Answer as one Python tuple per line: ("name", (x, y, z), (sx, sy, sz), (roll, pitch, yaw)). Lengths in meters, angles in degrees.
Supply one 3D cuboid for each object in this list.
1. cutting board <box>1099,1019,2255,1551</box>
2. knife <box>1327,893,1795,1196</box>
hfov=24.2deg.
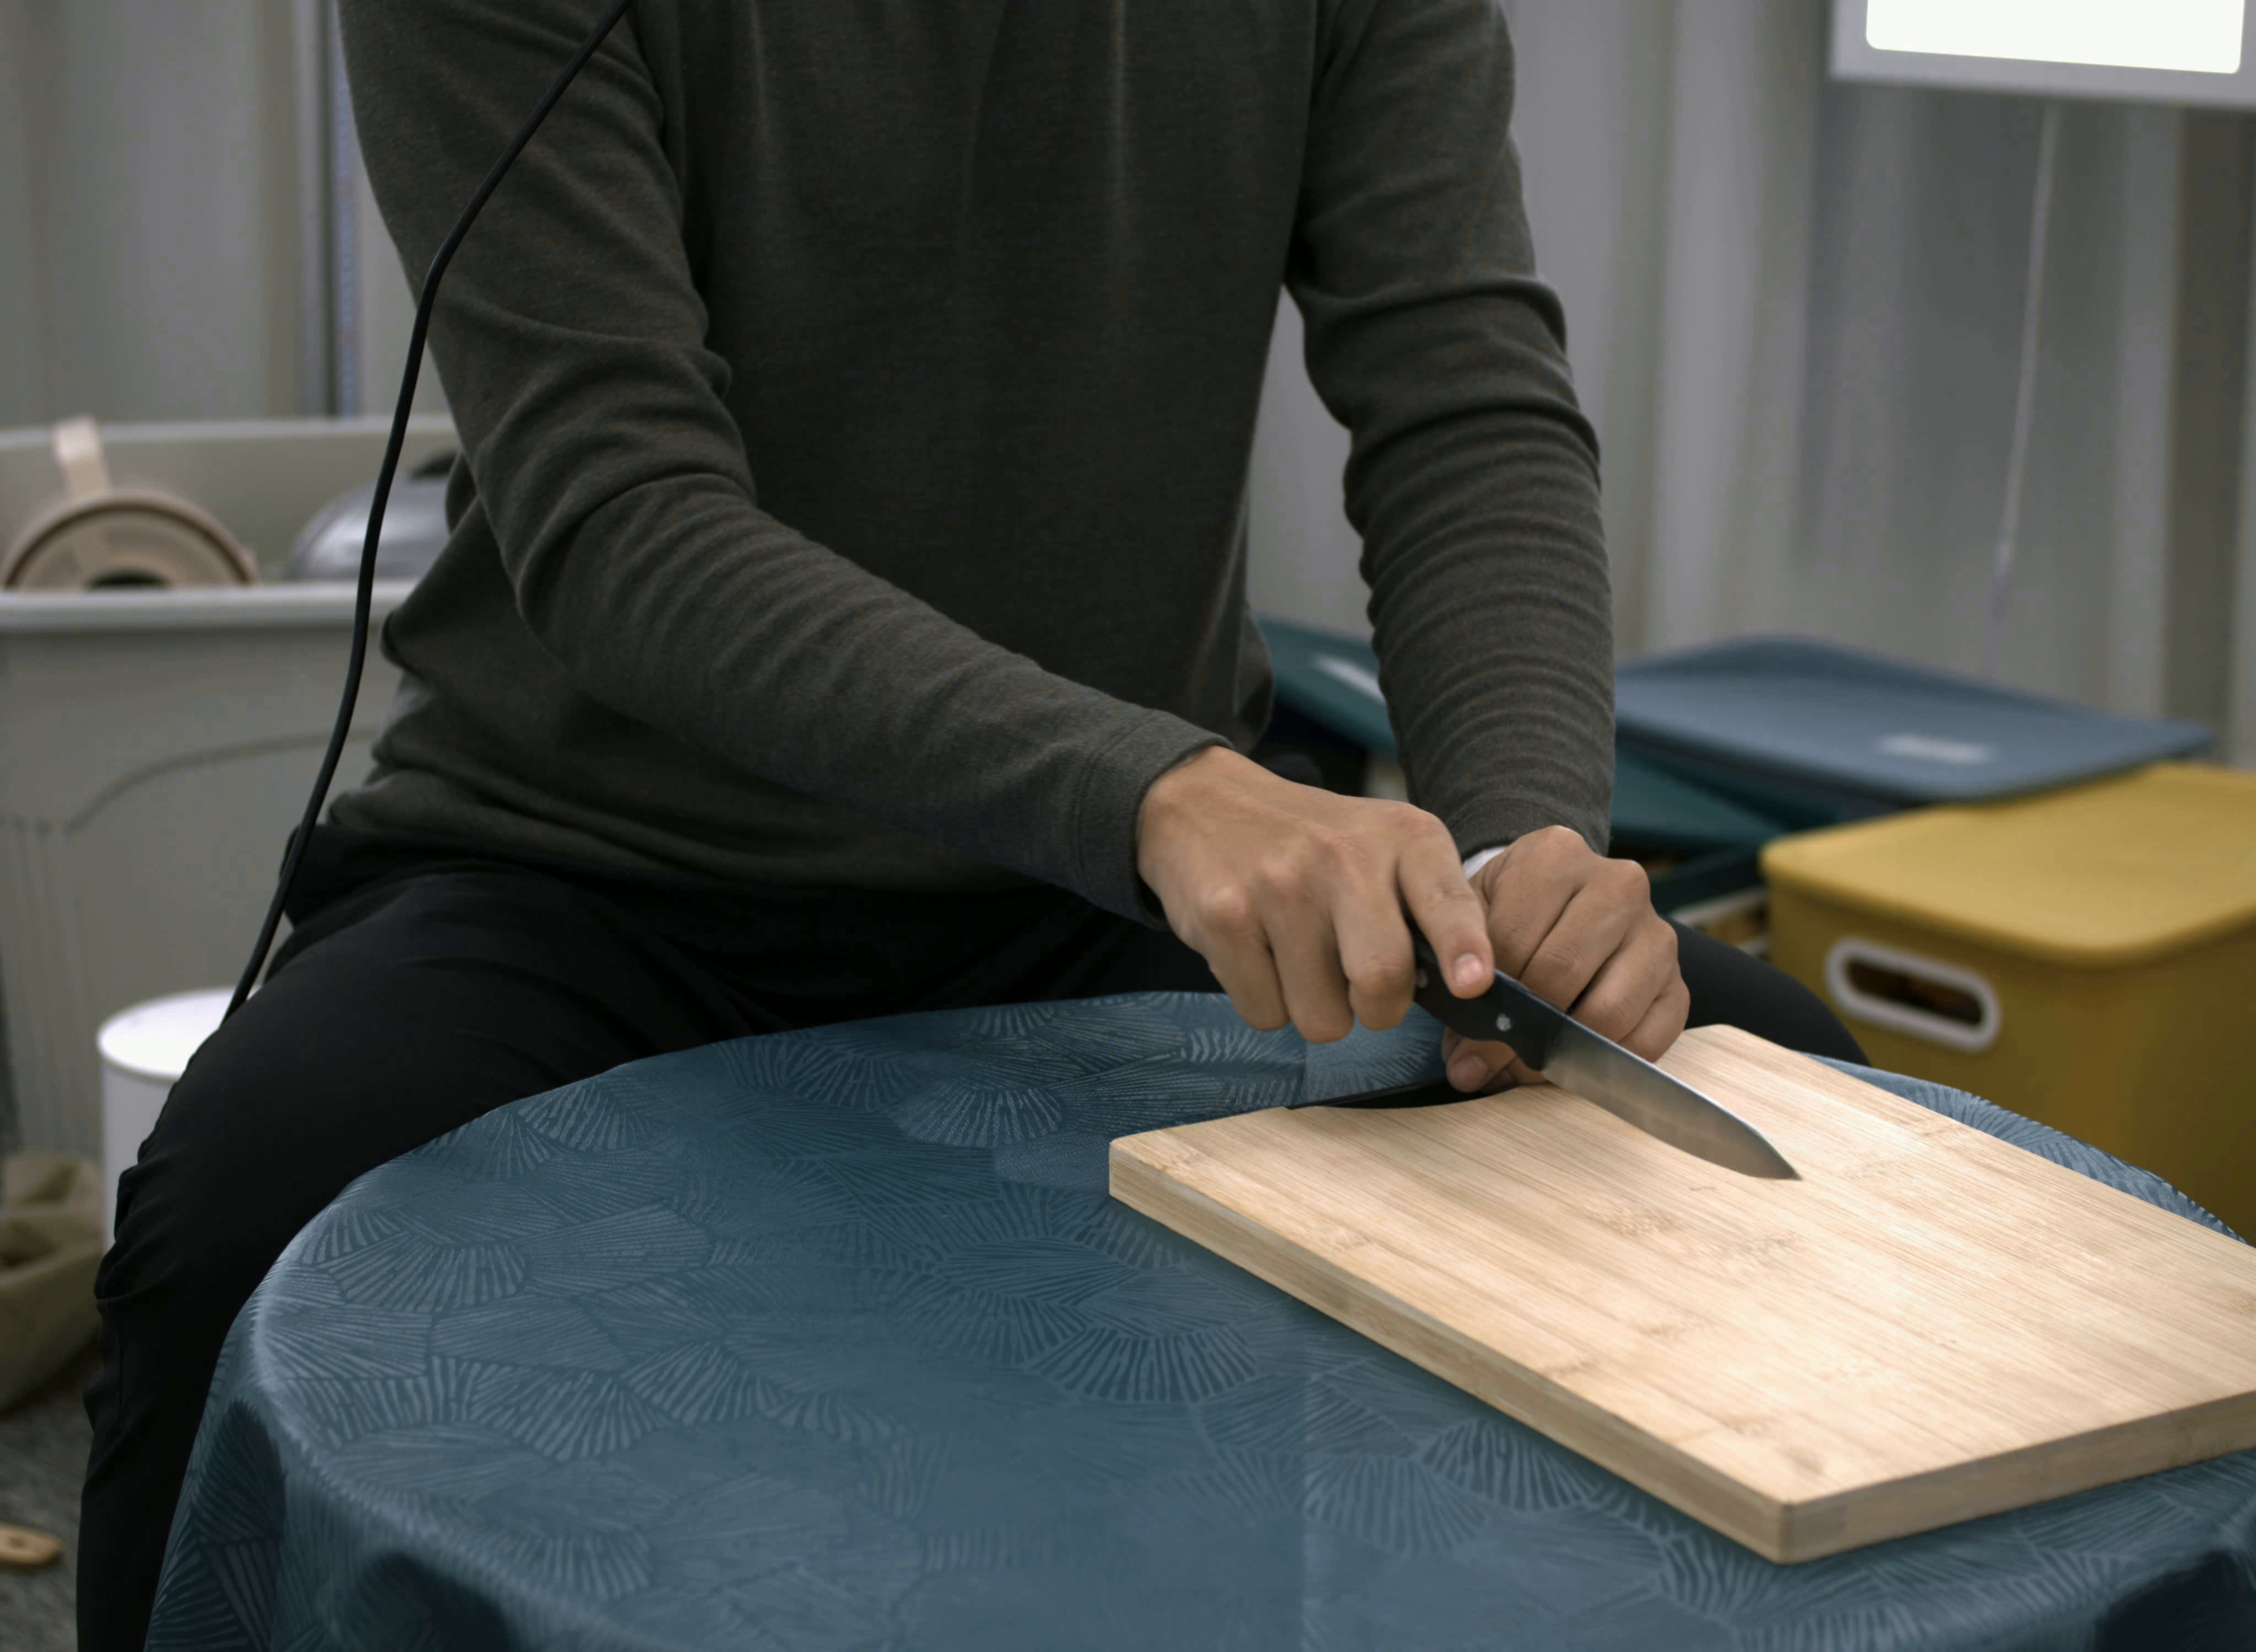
("cutting board", (0.180, 0.127, 1.550), (0.252, 0.024, 0.344), (-8, 18, -32))
("knife", (0.127, 0.063, 1.562), (0.016, 0.024, 0.235), (-4, 20, -31))
